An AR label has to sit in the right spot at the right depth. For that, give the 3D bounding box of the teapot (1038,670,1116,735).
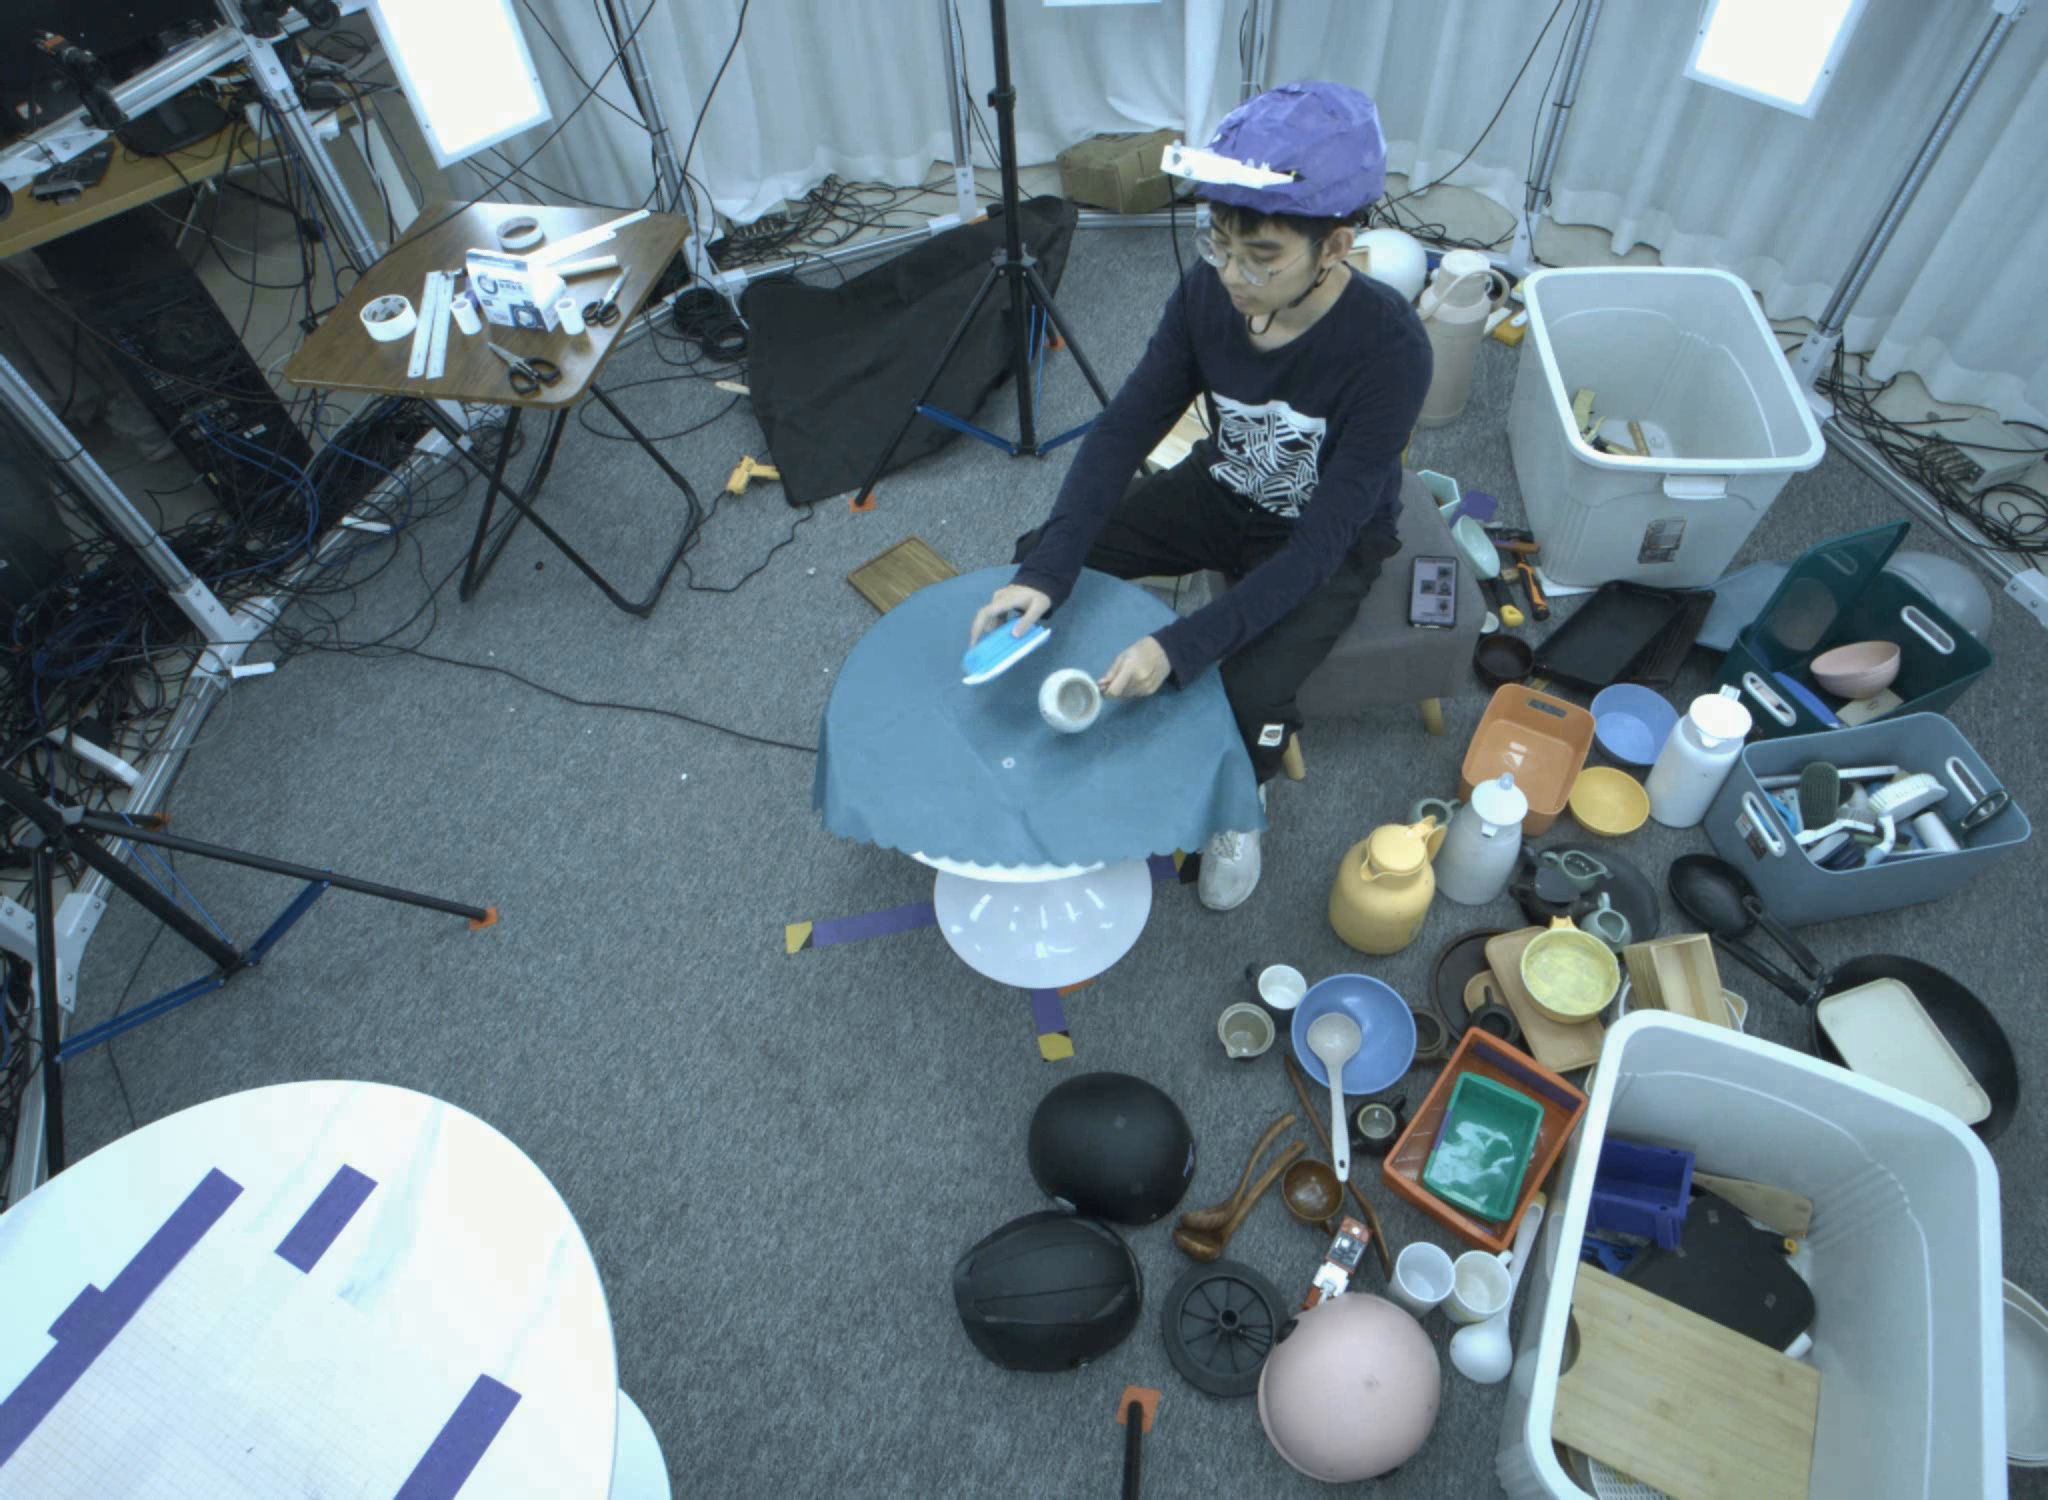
[{"bbox_3d":[0.074,-0.072,1.750,0.129,0.059,0.092,-27,94,-17],"label":"teapot"}]

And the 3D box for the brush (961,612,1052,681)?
[{"bbox_3d":[-0.031,-0.155,1.791,0.145,0.056,0.082,-38,19,-22],"label":"brush"}]
